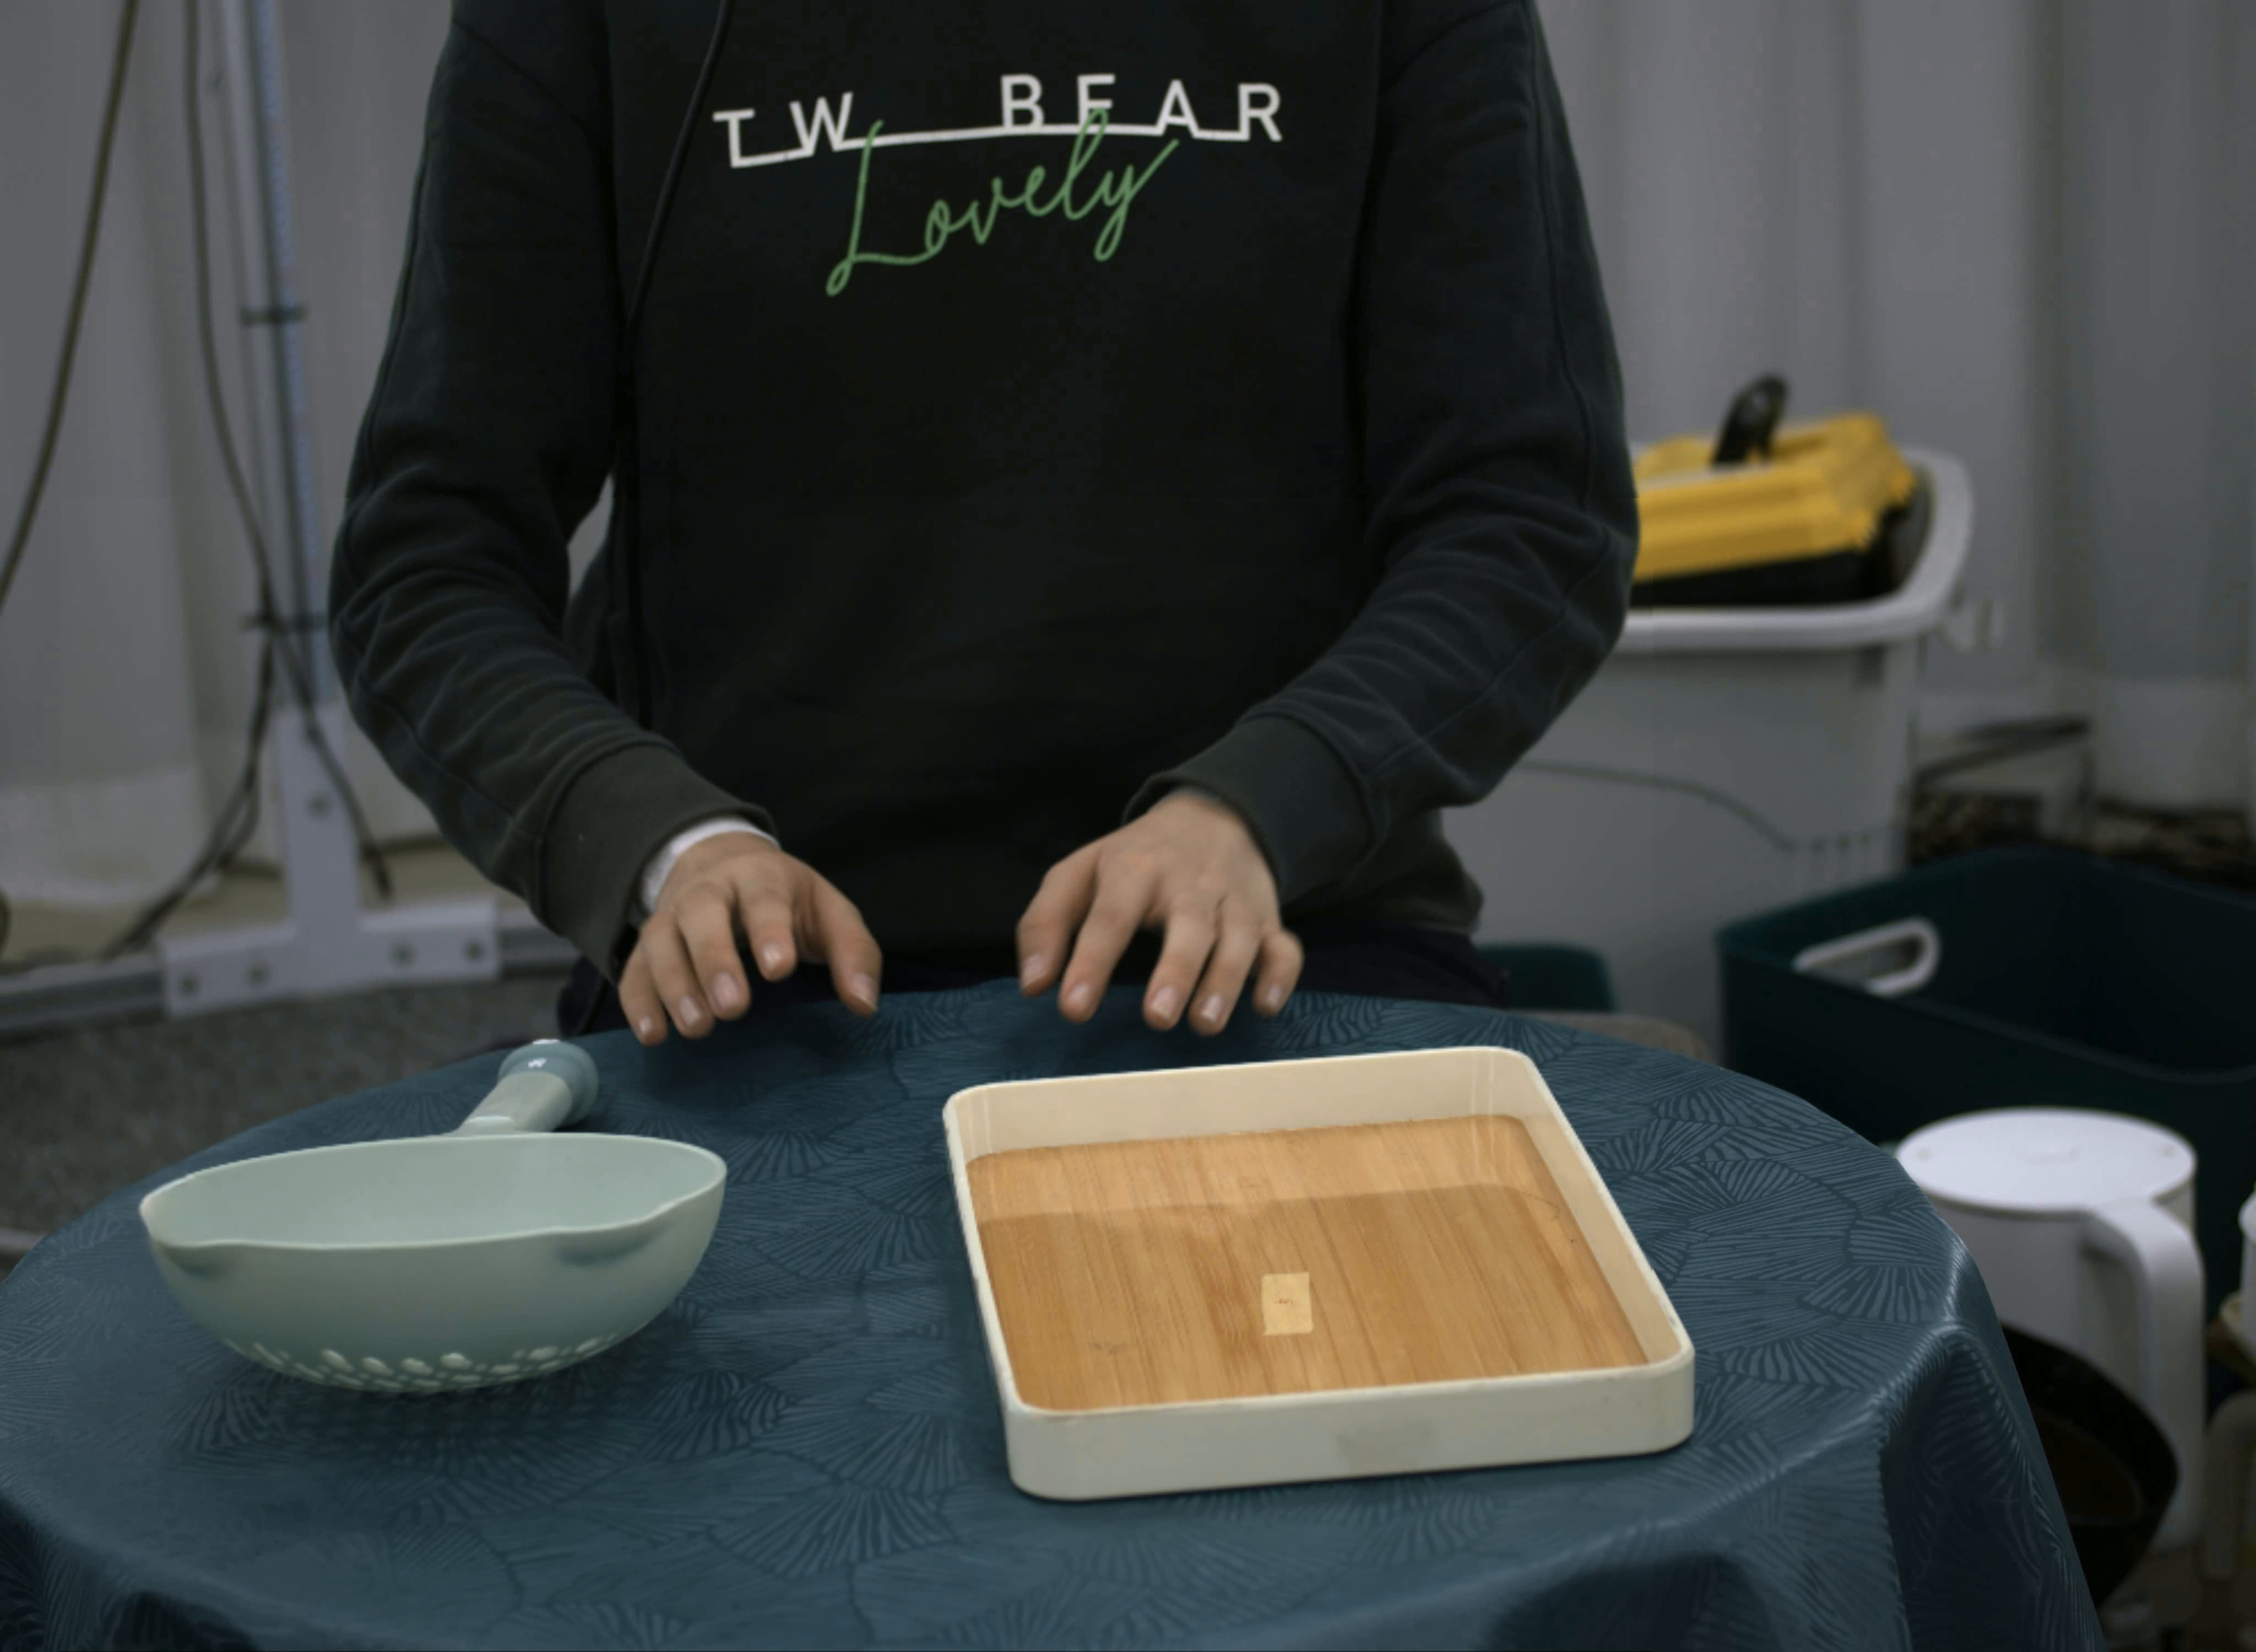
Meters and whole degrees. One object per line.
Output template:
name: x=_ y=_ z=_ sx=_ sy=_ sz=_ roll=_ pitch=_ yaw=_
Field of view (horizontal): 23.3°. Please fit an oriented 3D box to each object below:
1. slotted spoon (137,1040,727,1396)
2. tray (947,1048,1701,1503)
slotted spoon: x=-0.195 y=0.104 z=1.669 sx=0.169 sy=0.075 sz=0.361 roll=-2 pitch=15 yaw=2
tray: x=0.050 y=0.127 z=1.608 sx=0.191 sy=0.027 sz=0.302 roll=-4 pitch=15 yaw=-4
